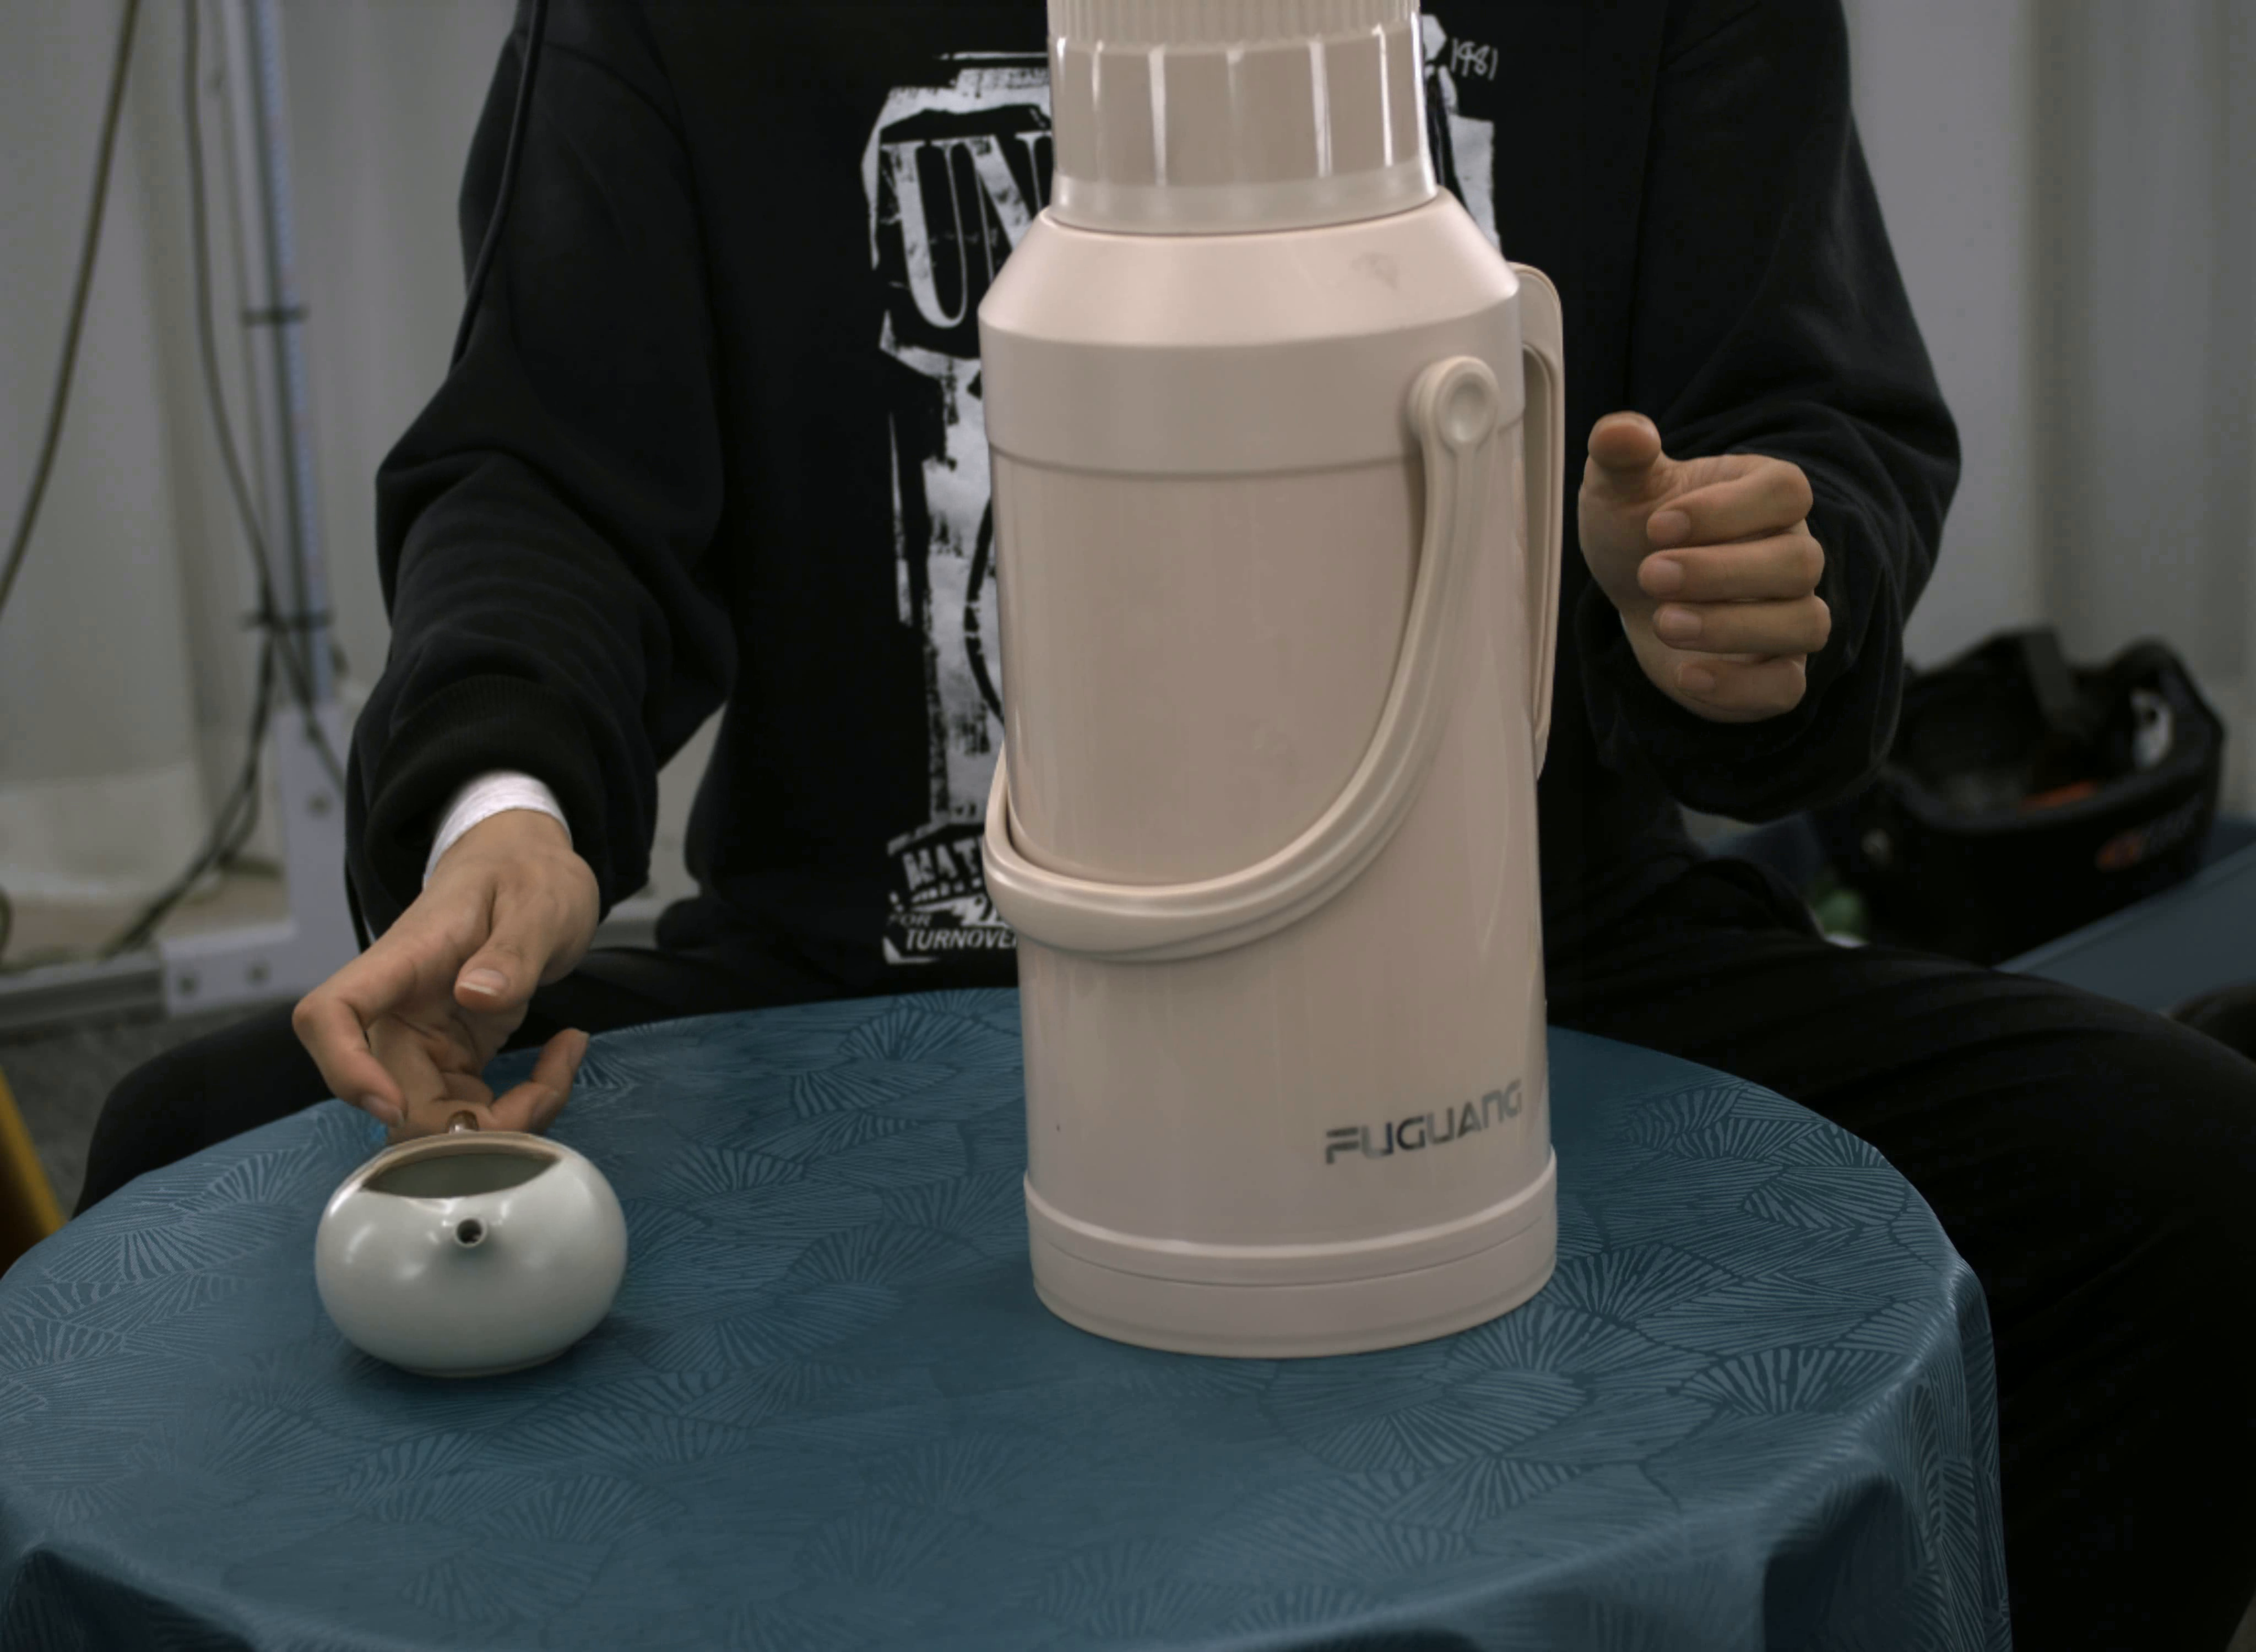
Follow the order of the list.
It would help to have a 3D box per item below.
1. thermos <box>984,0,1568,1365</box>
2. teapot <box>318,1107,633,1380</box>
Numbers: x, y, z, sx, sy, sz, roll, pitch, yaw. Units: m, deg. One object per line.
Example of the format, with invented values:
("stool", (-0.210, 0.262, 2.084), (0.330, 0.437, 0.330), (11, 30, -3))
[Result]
("thermos", (0.053, -0.061, 1.599), (0.206, 0.405, 0.176), (-16, 17, -40))
("teapot", (-0.192, 0.122, 1.608), (0.091, 0.059, 0.129), (-10, 16, -7))
